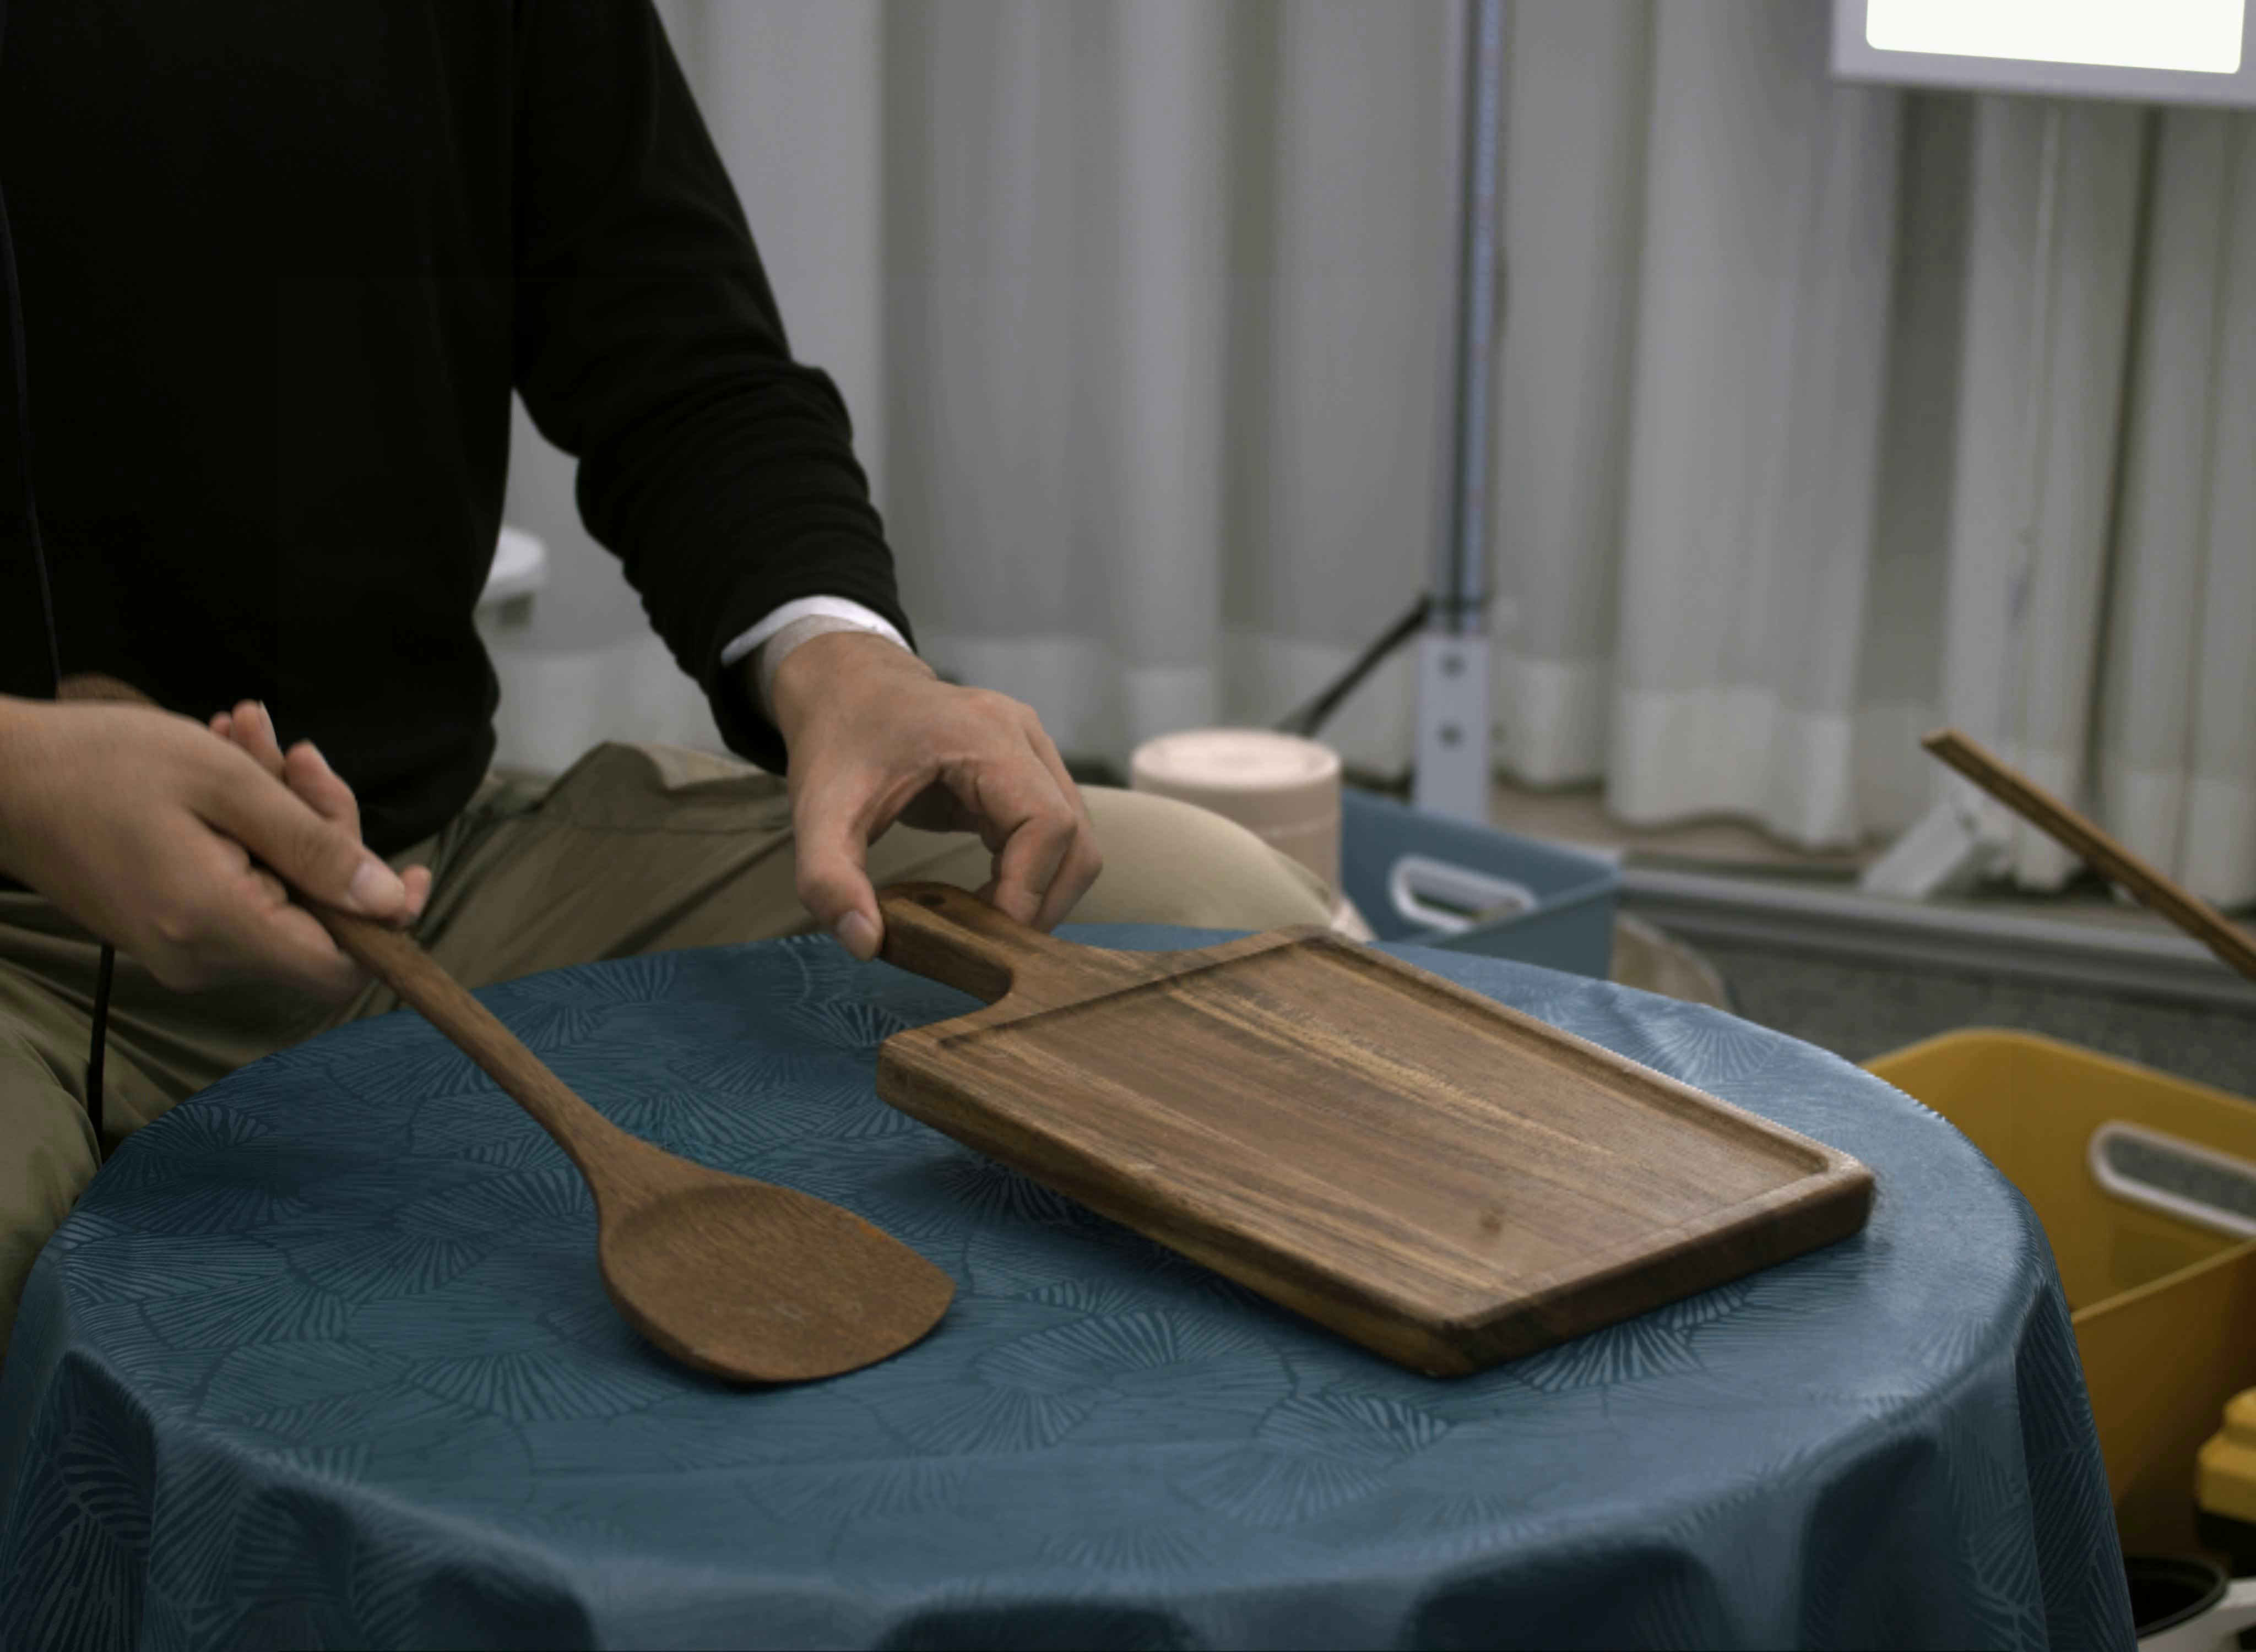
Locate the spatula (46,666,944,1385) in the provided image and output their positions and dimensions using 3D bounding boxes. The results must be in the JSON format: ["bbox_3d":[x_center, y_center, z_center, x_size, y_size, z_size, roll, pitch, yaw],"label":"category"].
[{"bbox_3d":[-0.206,0.050,1.572,0.381,0.016,0.096,38,36,29],"label":"spatula"}]

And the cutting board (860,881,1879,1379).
[{"bbox_3d":[0.041,0.079,1.640,0.202,0.023,0.347,-14,27,-43],"label":"cutting board"}]
